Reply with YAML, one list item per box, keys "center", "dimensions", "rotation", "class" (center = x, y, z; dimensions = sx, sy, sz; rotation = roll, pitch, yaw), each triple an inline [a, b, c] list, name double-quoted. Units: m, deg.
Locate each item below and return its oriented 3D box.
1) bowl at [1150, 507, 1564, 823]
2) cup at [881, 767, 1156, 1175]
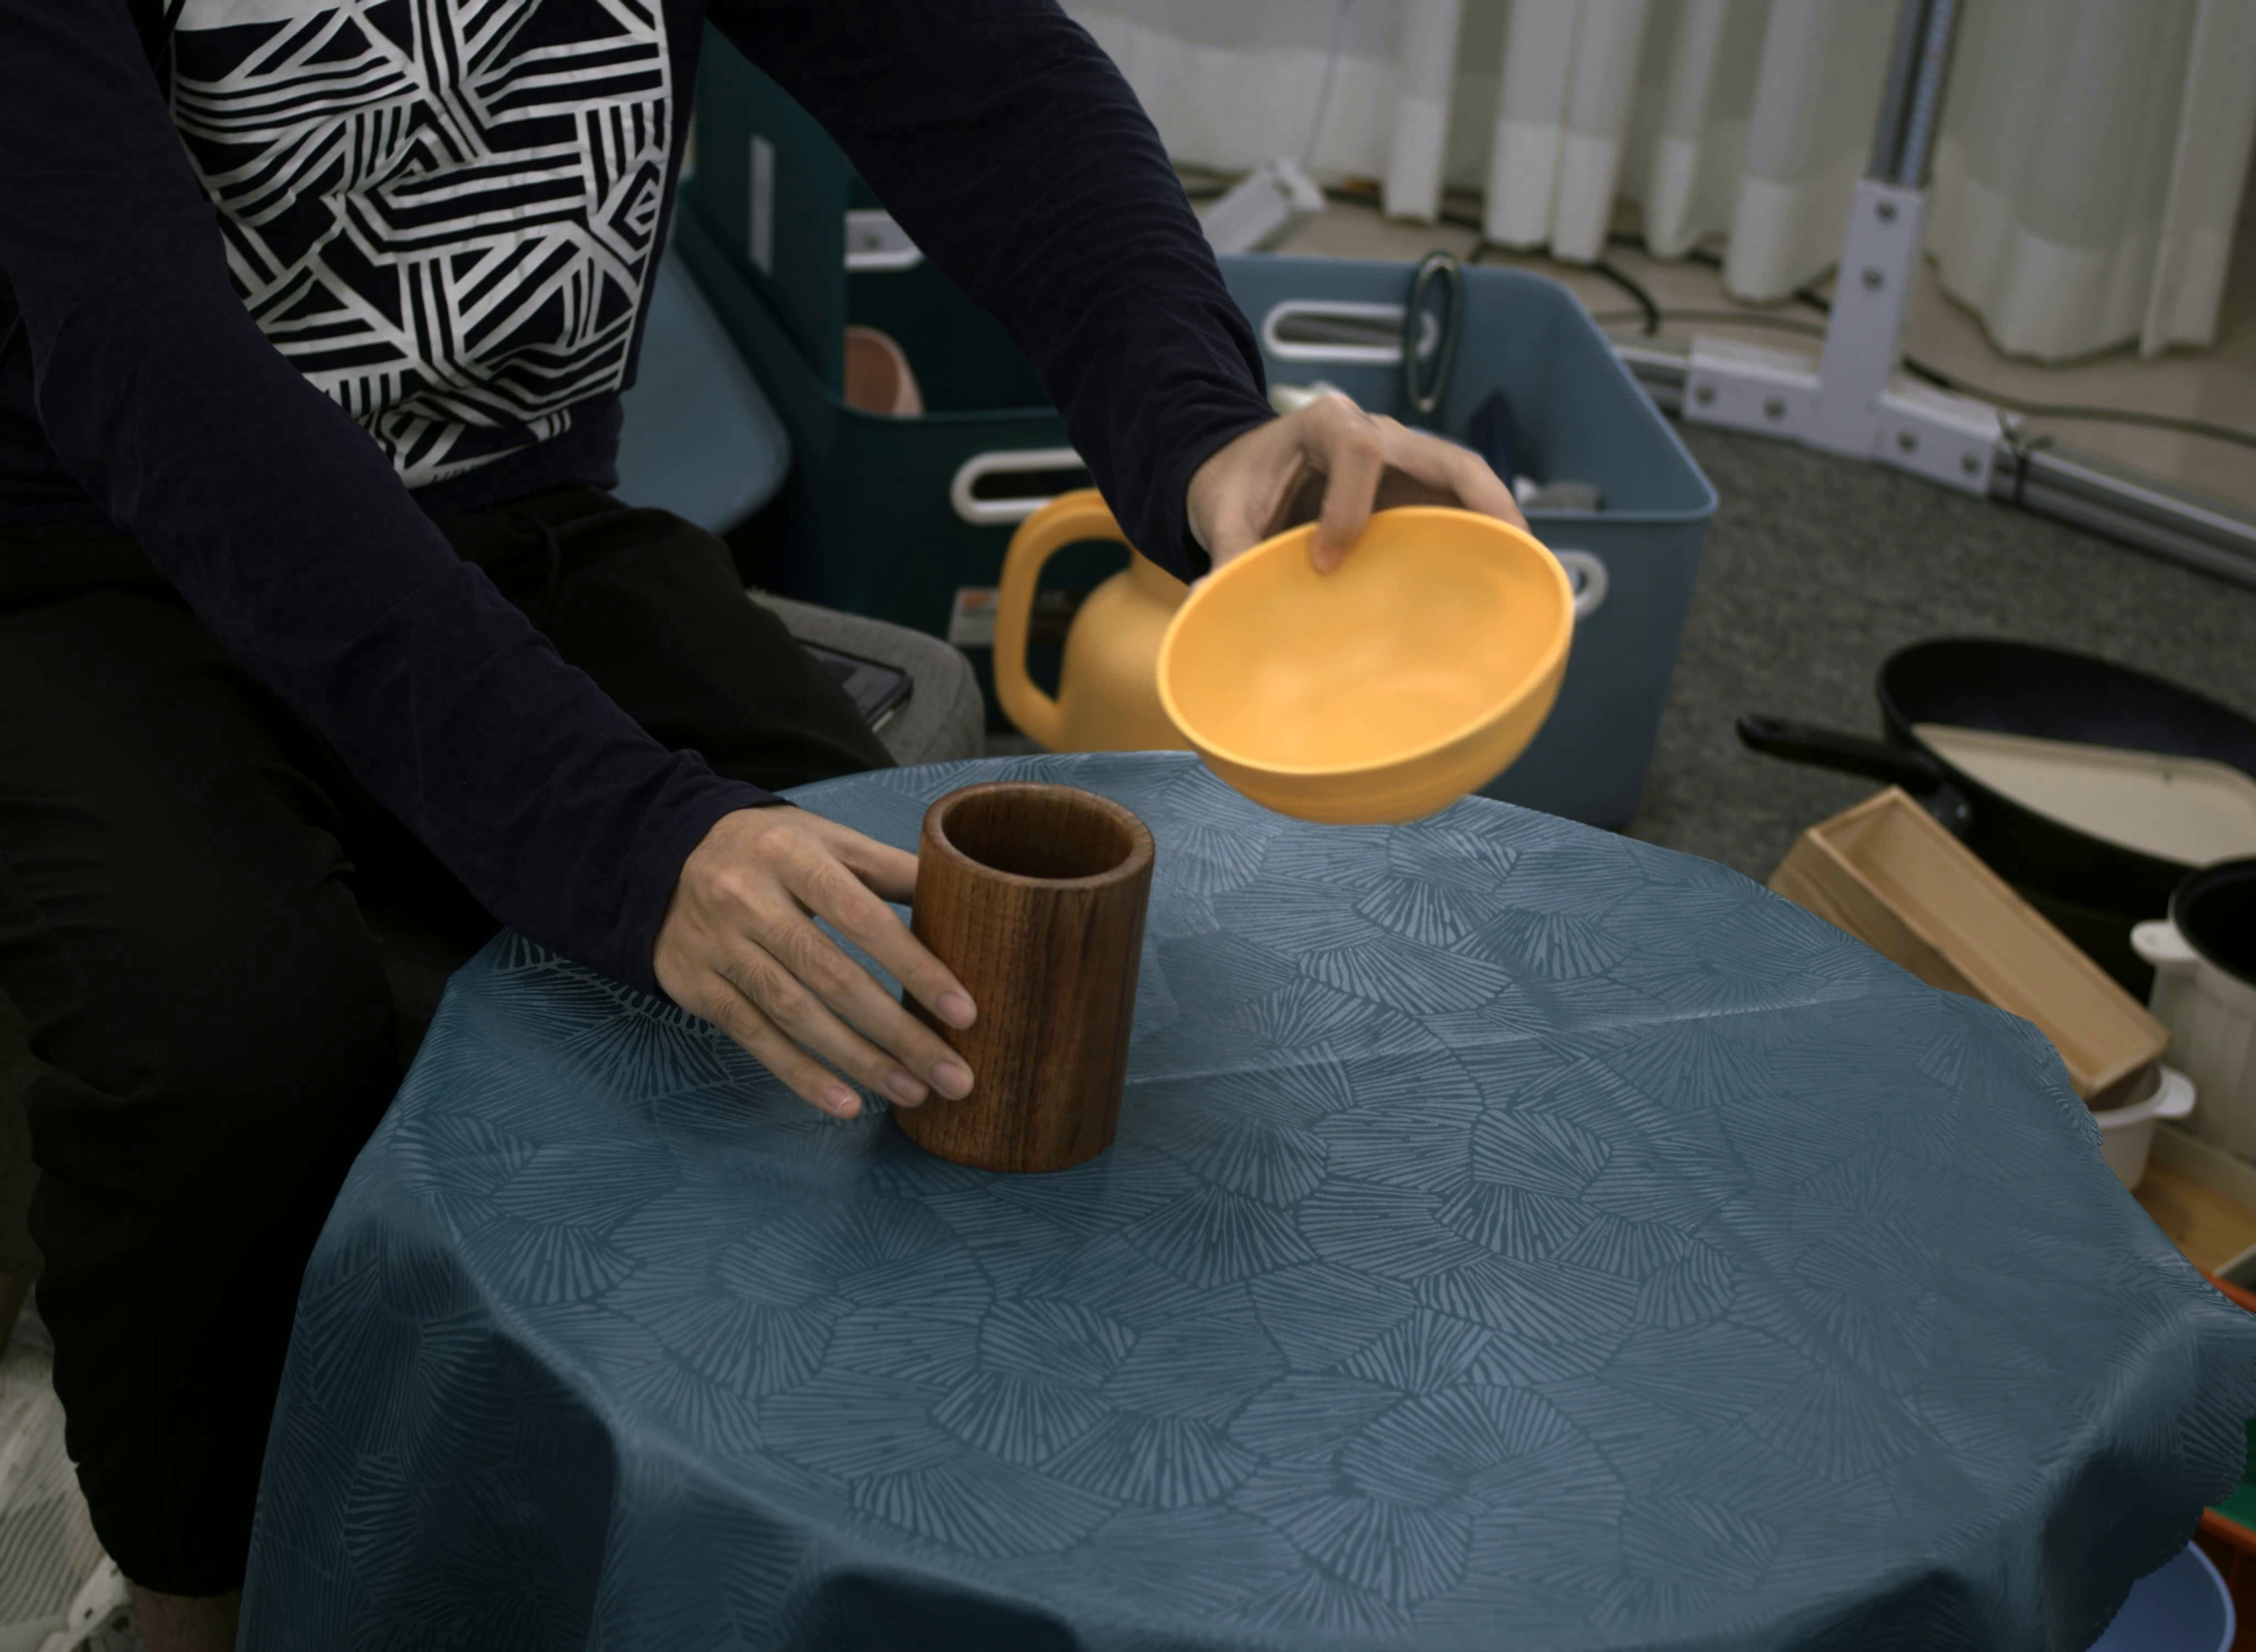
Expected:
- center: [0.084, -0.044, 1.819]
  dimensions: [0.145, 0.059, 0.146]
  rotation: [-12, 36, 9]
  class: "bowl"
- center: [-0.039, 0.049, 1.815]
  dimensions: [0.087, 0.118, 0.088]
  rotation: [8, 24, -4]
  class: "cup"
